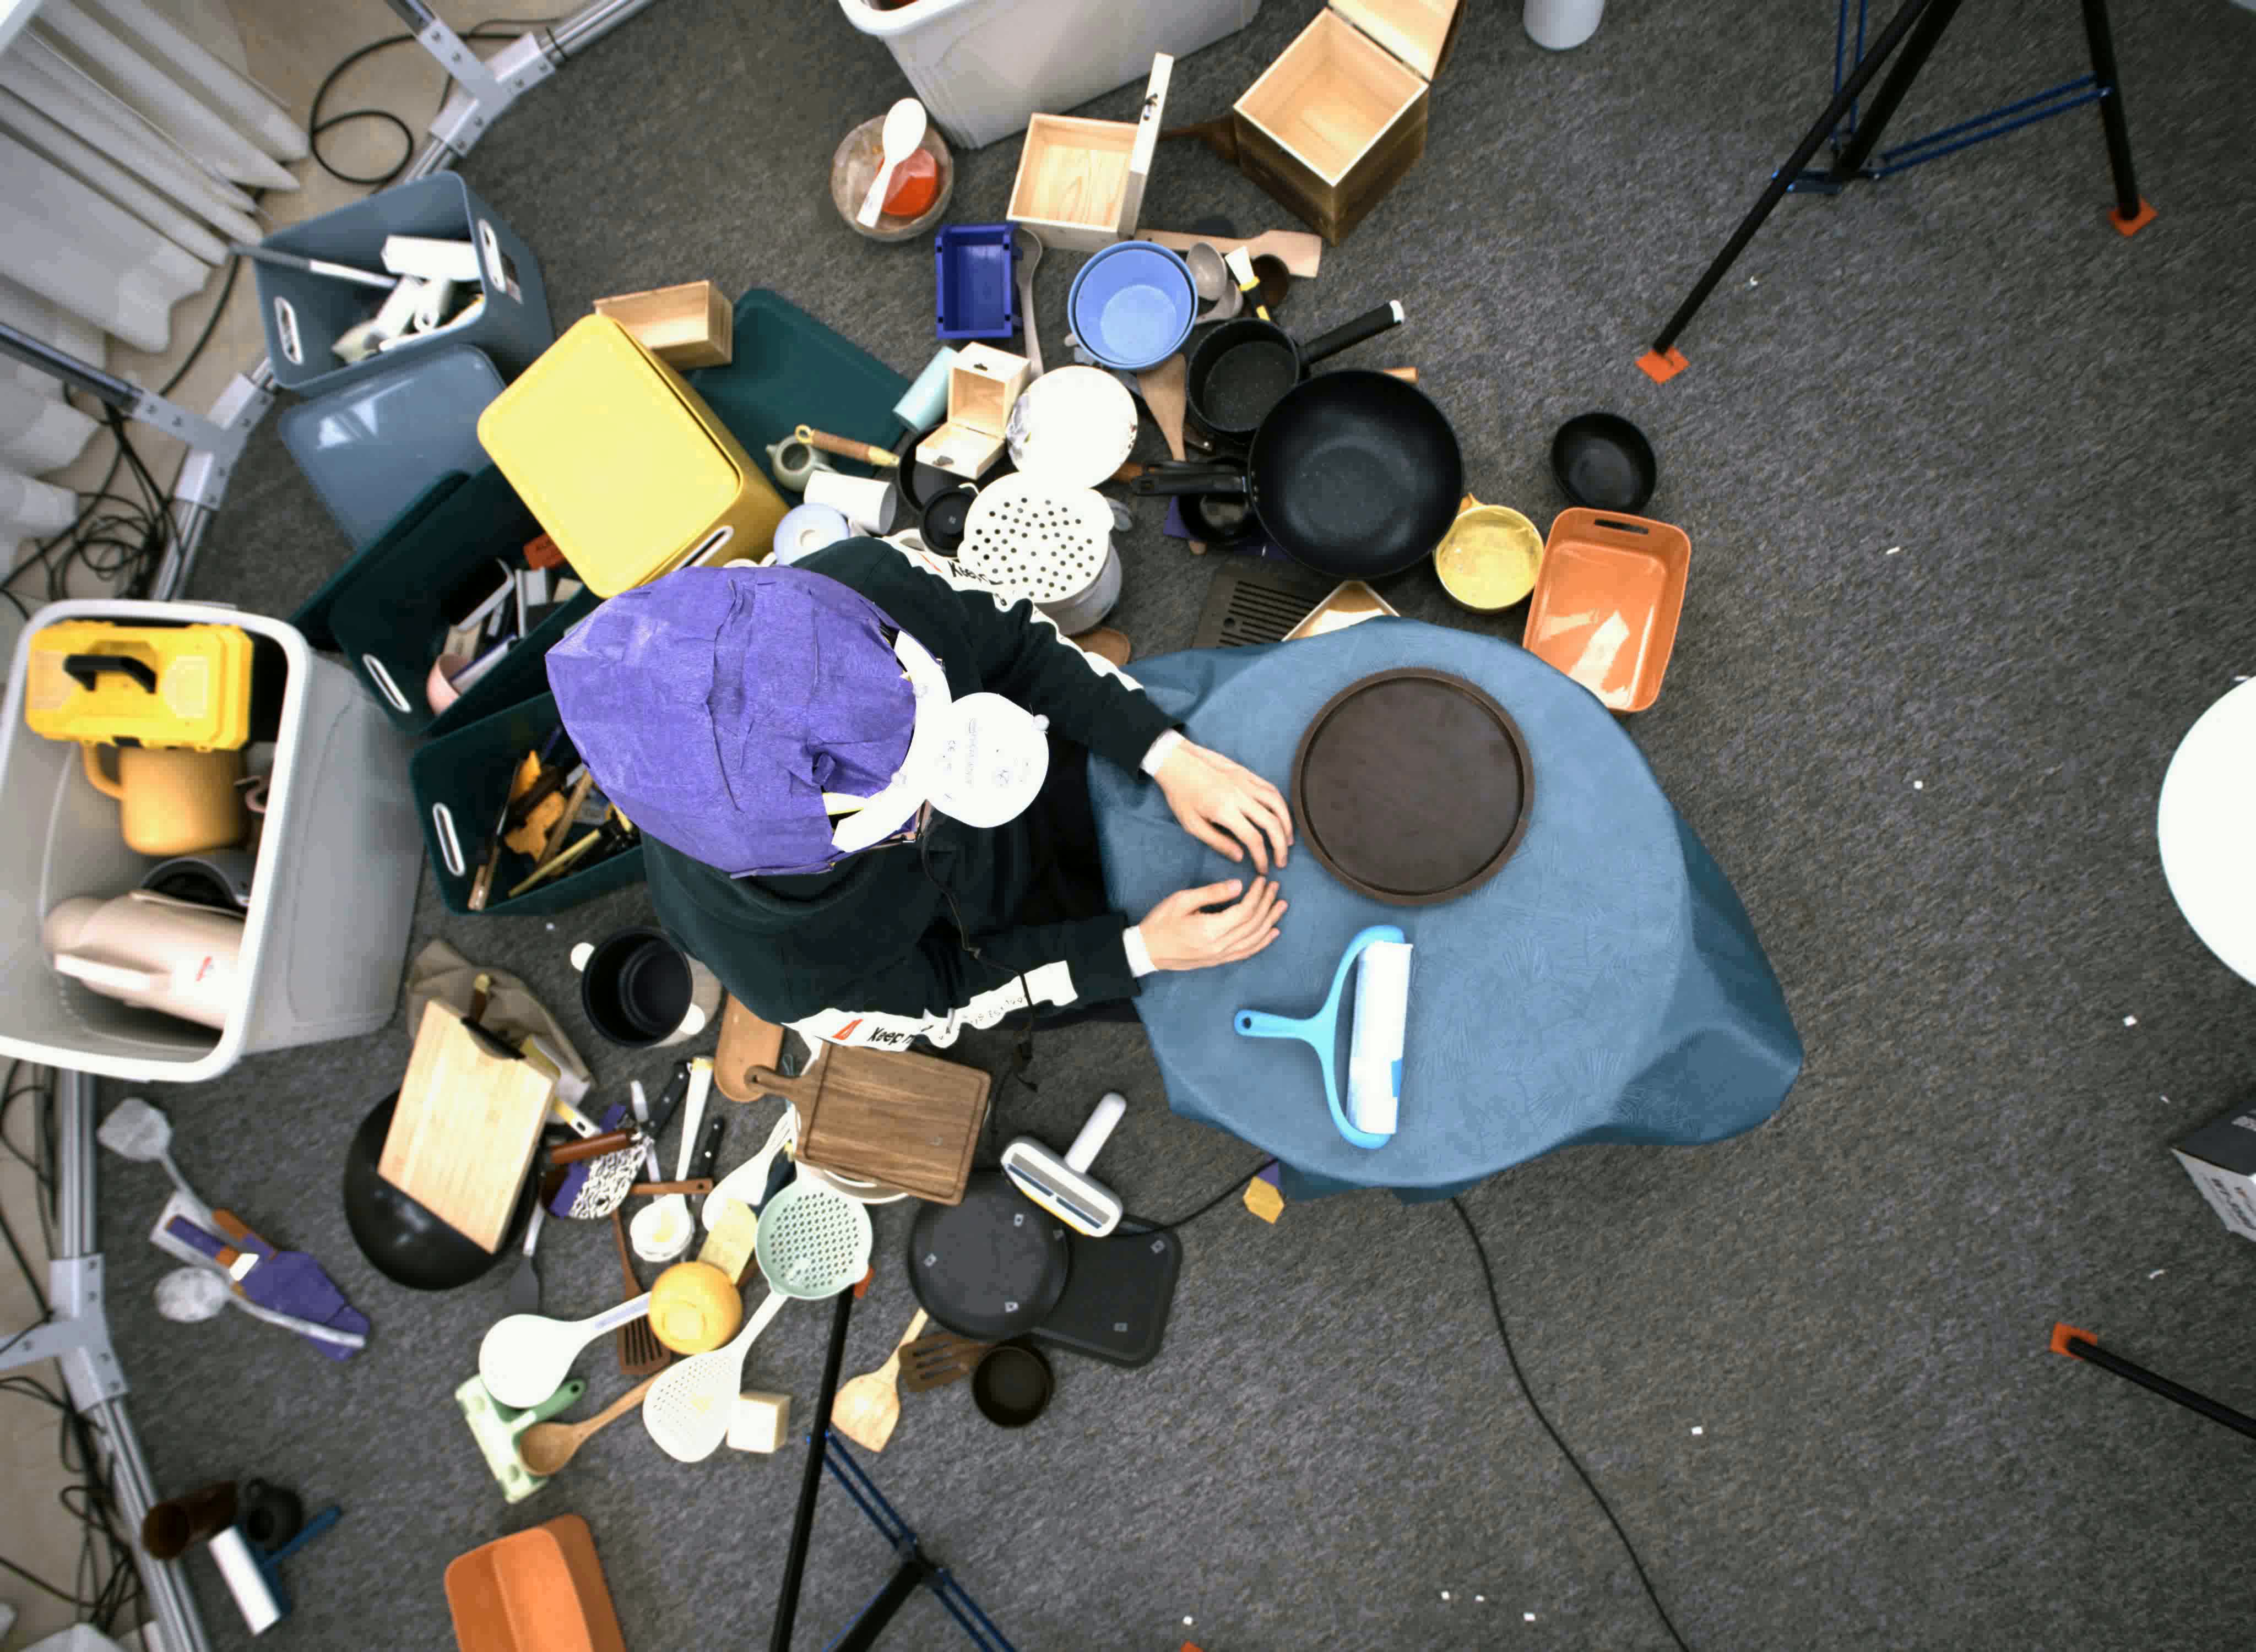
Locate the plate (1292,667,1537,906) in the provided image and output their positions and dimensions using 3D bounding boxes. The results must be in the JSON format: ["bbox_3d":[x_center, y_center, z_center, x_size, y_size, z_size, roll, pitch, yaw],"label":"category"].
[{"bbox_3d":[0.298,-0.043,1.444,0.256,0.029,0.253,-1,87,9],"label":"plate"}]

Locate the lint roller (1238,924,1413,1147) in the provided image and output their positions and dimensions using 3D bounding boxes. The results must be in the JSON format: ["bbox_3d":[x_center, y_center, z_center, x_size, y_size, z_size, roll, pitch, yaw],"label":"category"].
[{"bbox_3d":[0.201,0.212,1.432,0.181,0.068,0.228,1,89,10],"label":"lint roller"}]
